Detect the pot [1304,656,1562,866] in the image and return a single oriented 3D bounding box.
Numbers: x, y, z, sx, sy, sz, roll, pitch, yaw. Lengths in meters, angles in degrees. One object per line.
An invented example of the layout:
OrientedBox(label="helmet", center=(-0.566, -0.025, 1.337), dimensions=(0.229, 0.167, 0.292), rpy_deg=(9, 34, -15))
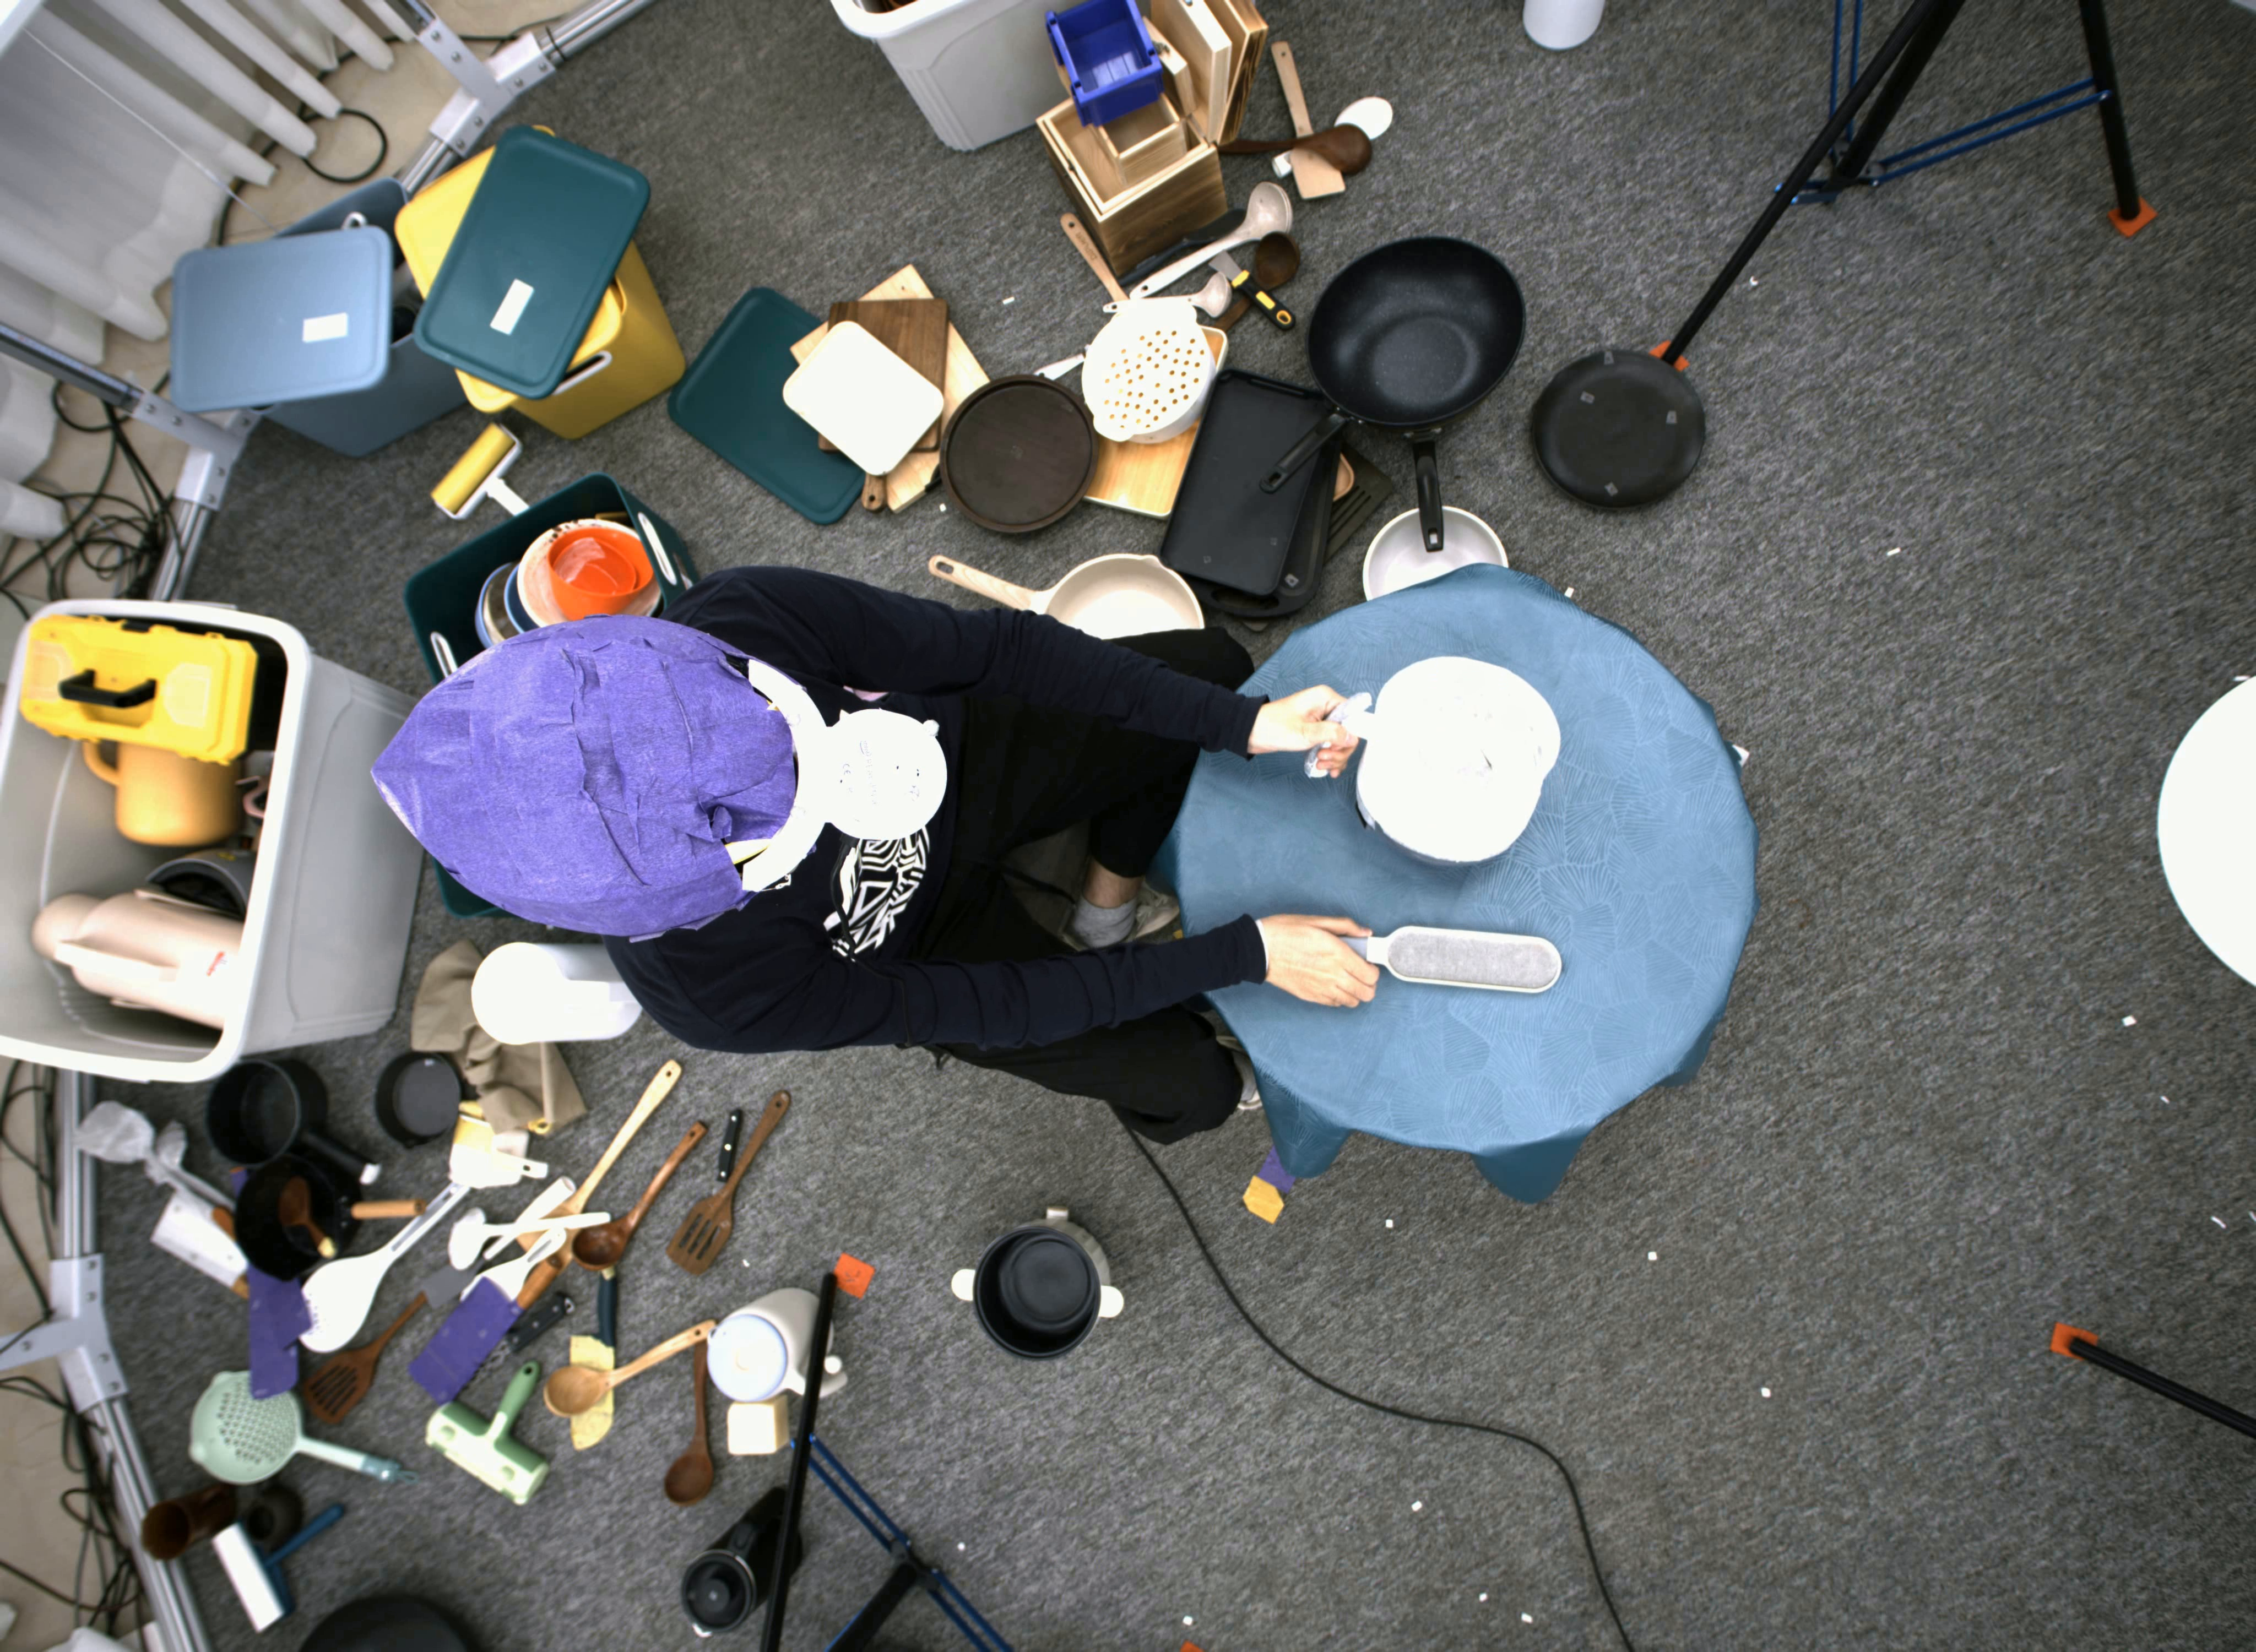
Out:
OrientedBox(label="pot", center=(0.294, -0.068, 1.357), dimensions=(0.234, 0.140, 0.174), rpy_deg=(14, 52, 6))

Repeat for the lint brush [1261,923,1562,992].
OrientedBox(label="lint brush", center=(0.292, 0.128, 1.432), dimensions=(0.310, 0.021, 0.060), rpy_deg=(5, 99, 9))
